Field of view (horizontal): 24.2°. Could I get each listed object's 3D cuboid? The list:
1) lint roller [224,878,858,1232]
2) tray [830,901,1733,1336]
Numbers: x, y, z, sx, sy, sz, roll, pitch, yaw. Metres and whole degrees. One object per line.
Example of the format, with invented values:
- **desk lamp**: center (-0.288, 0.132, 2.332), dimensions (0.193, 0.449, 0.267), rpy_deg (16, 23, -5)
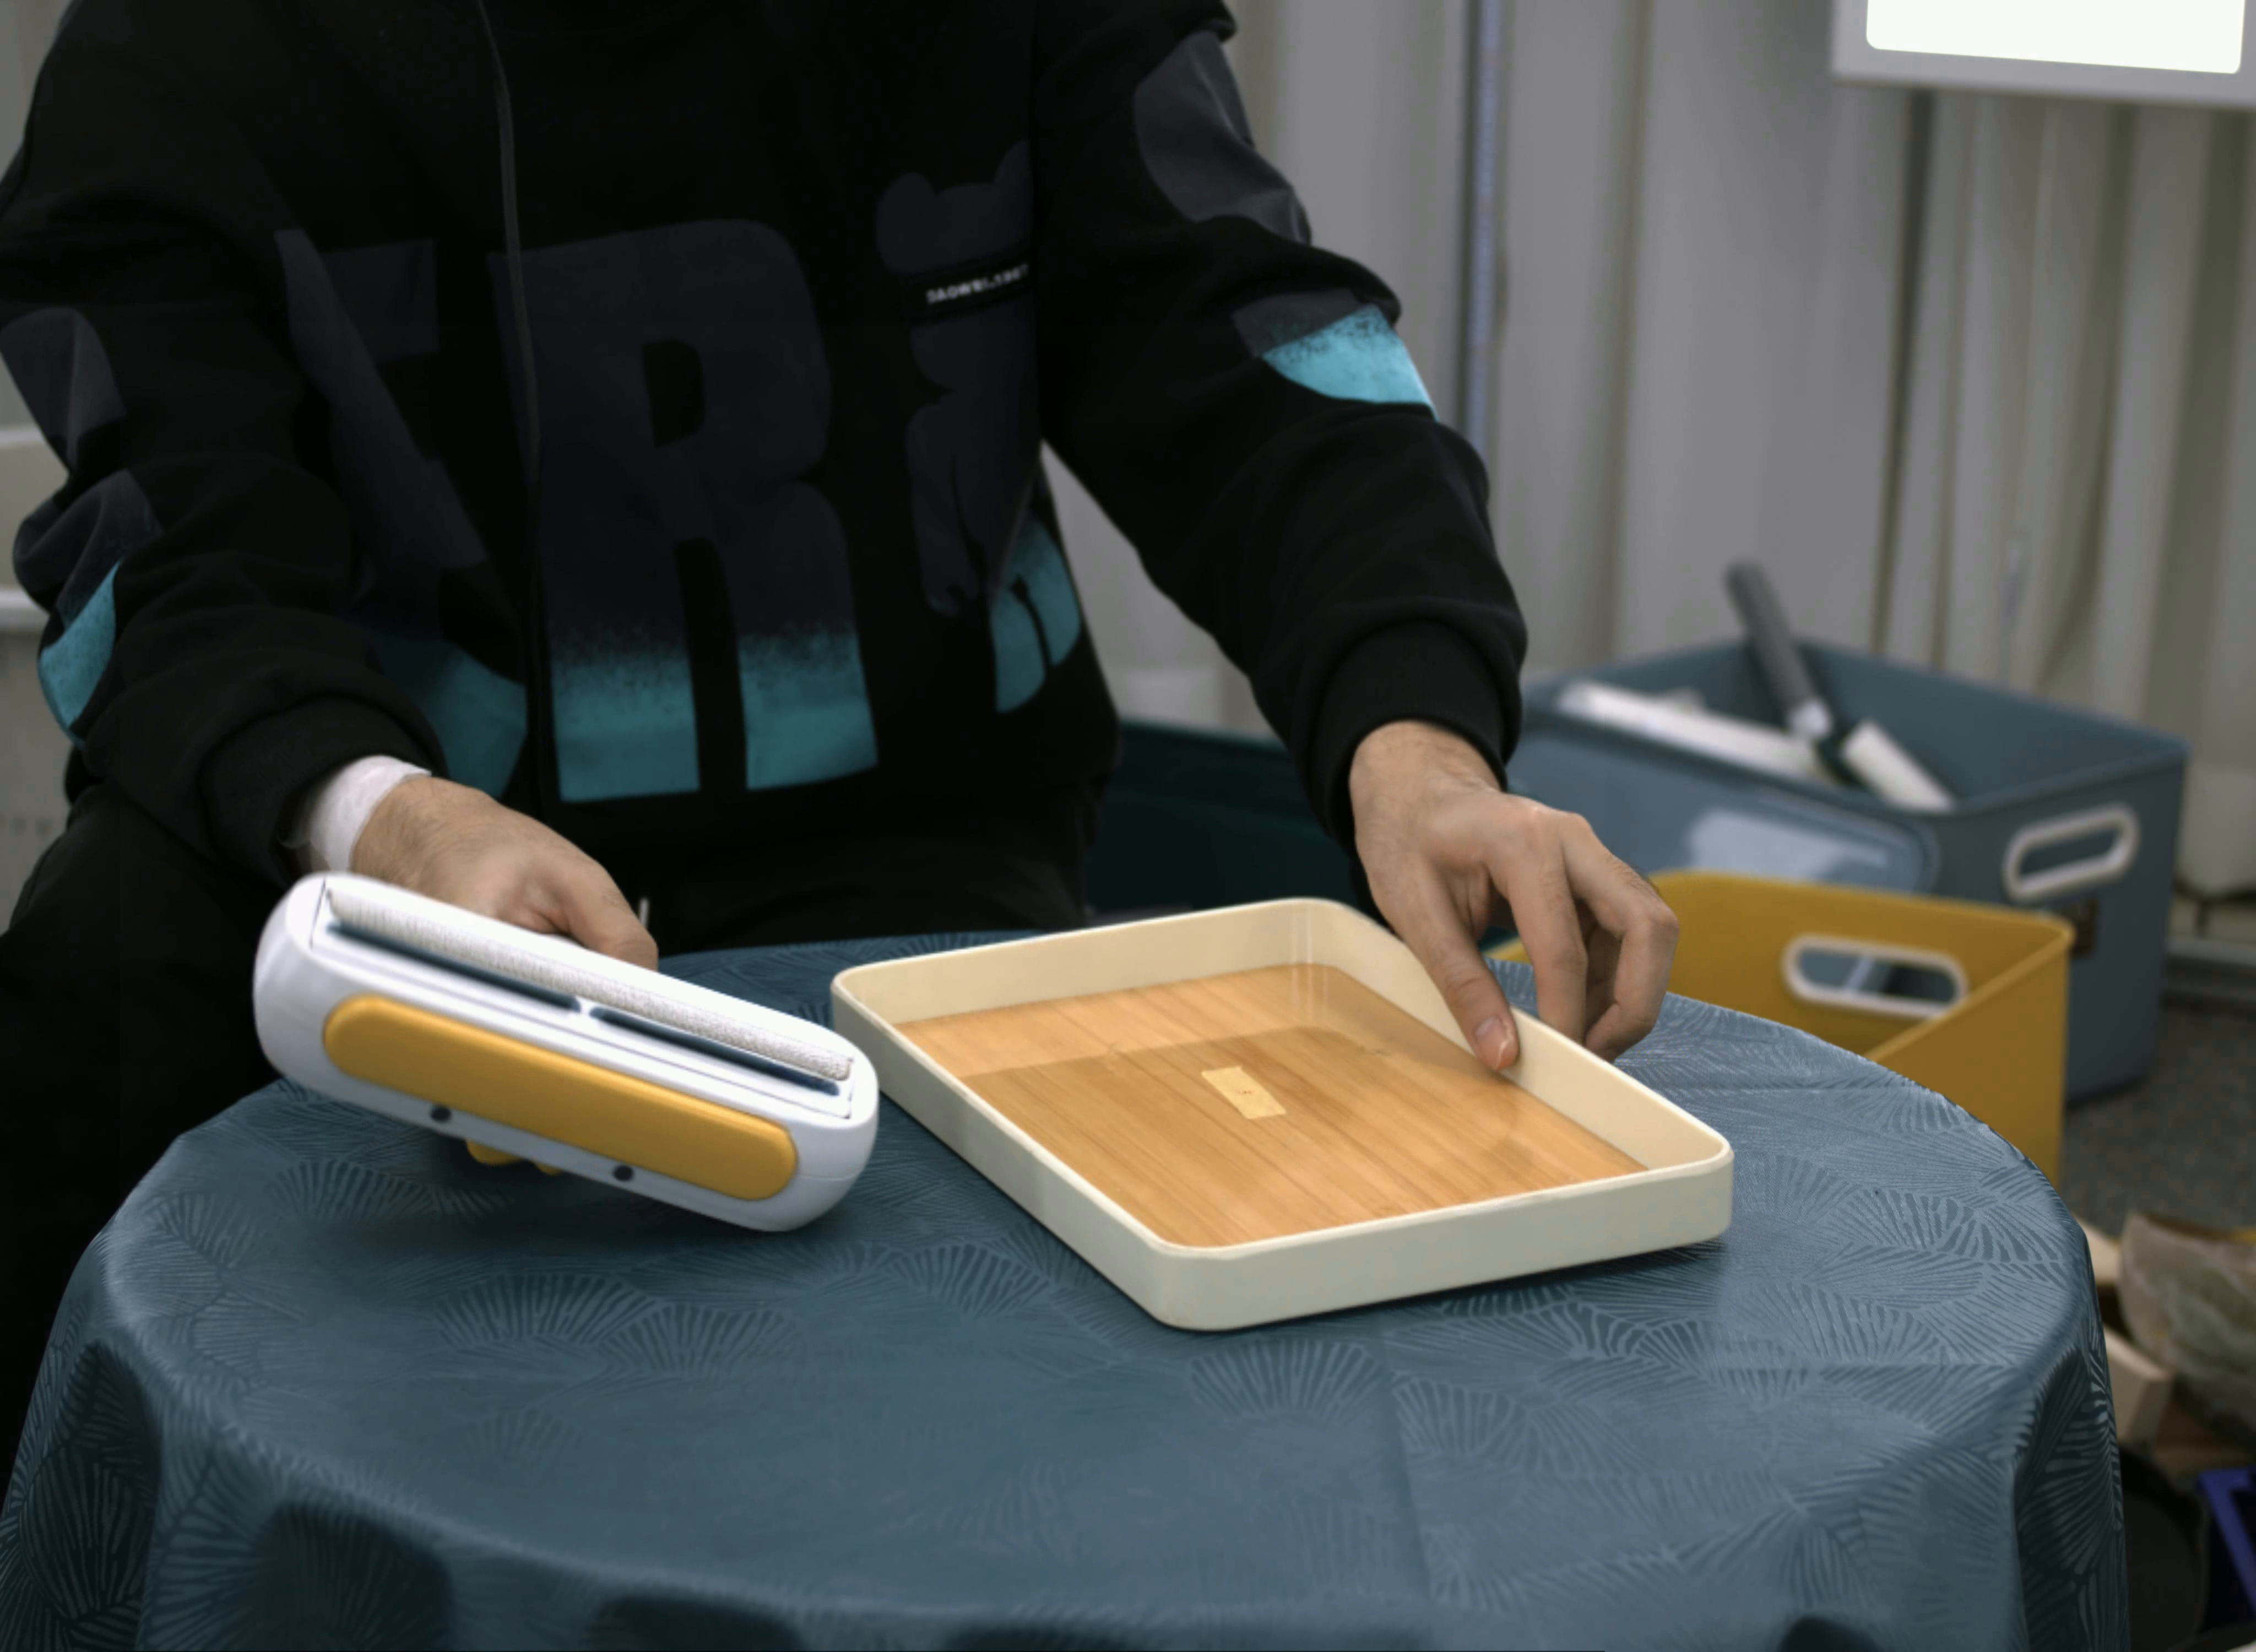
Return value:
- **lint roller**: center (-0.178, 0.056, 1.629), dimensions (0.193, 0.074, 0.191), rpy_deg (14, 19, -7)
- **tray**: center (0.041, 0.086, 1.657), dimensions (0.192, 0.027, 0.297), rpy_deg (-8, 18, -22)
